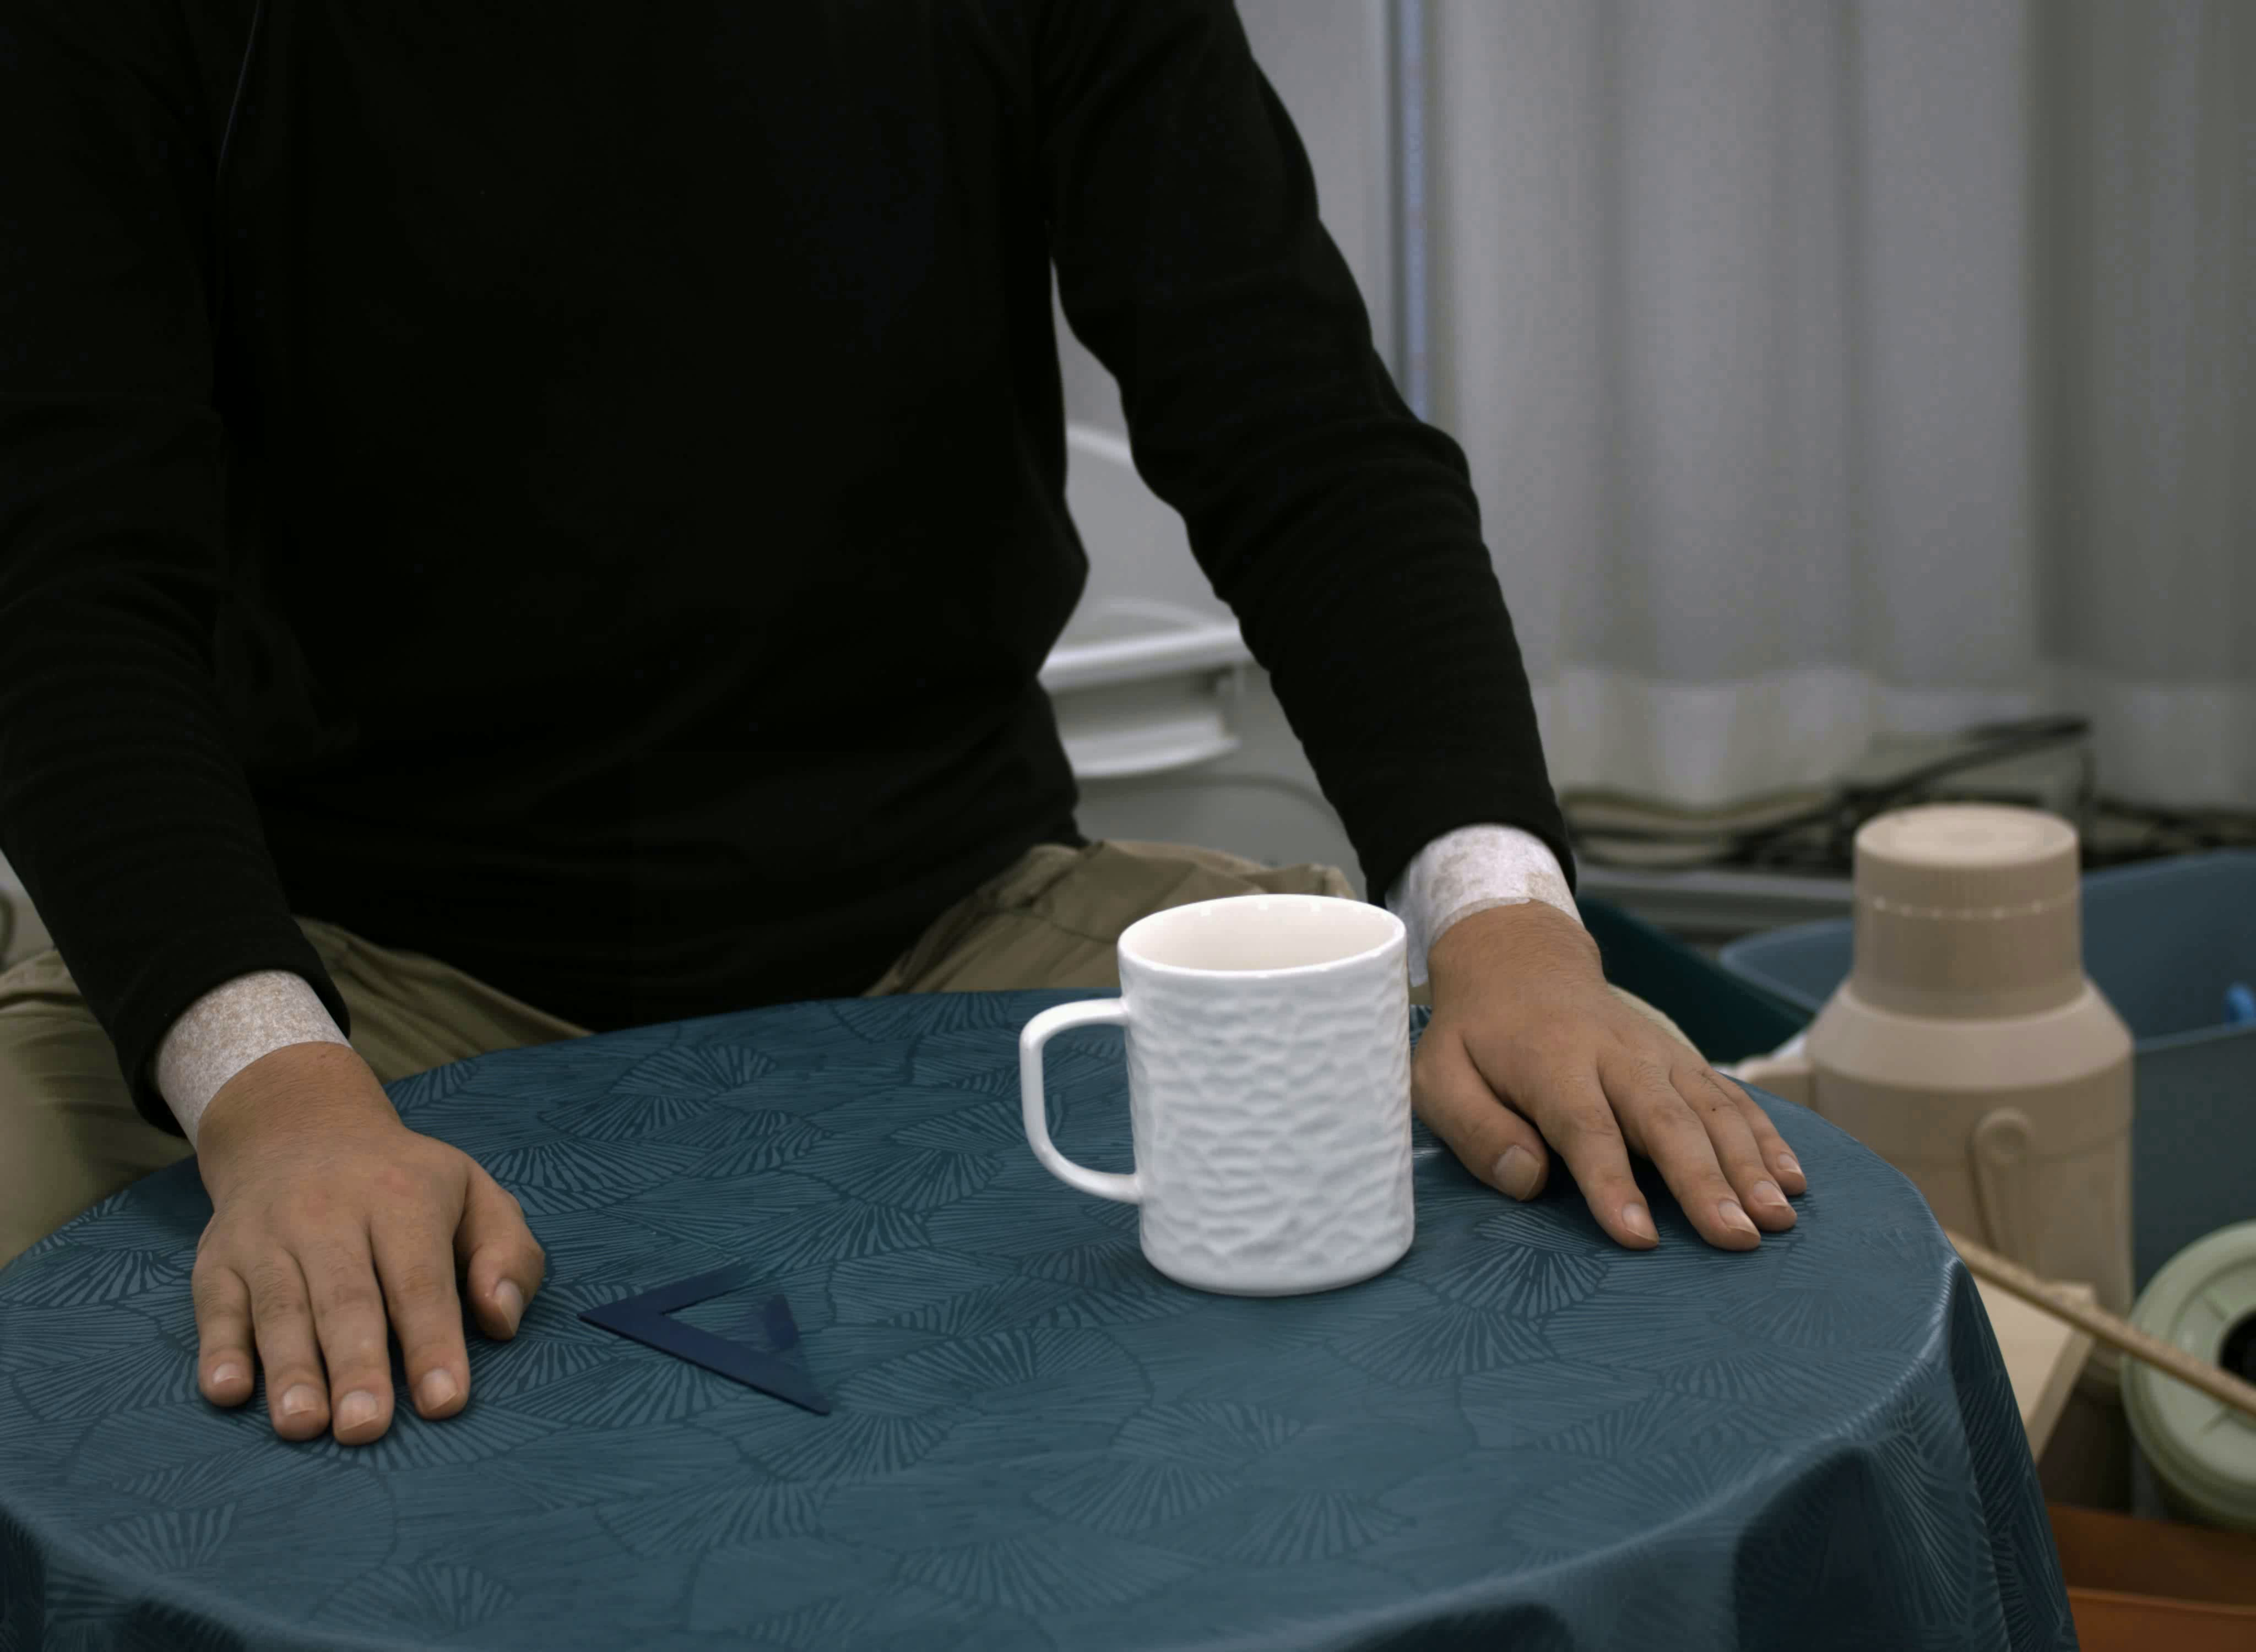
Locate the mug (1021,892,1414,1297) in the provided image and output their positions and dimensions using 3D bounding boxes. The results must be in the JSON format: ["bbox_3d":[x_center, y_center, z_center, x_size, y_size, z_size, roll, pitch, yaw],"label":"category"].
[{"bbox_3d":[0.027,0.081,1.635,0.118,0.101,0.085,-5,14,-9],"label":"mug"}]

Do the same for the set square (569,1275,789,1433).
[{"bbox_3d":[-0.131,0.153,1.587,0.061,0.006,0.133,-3,15,-6],"label":"set square"}]
